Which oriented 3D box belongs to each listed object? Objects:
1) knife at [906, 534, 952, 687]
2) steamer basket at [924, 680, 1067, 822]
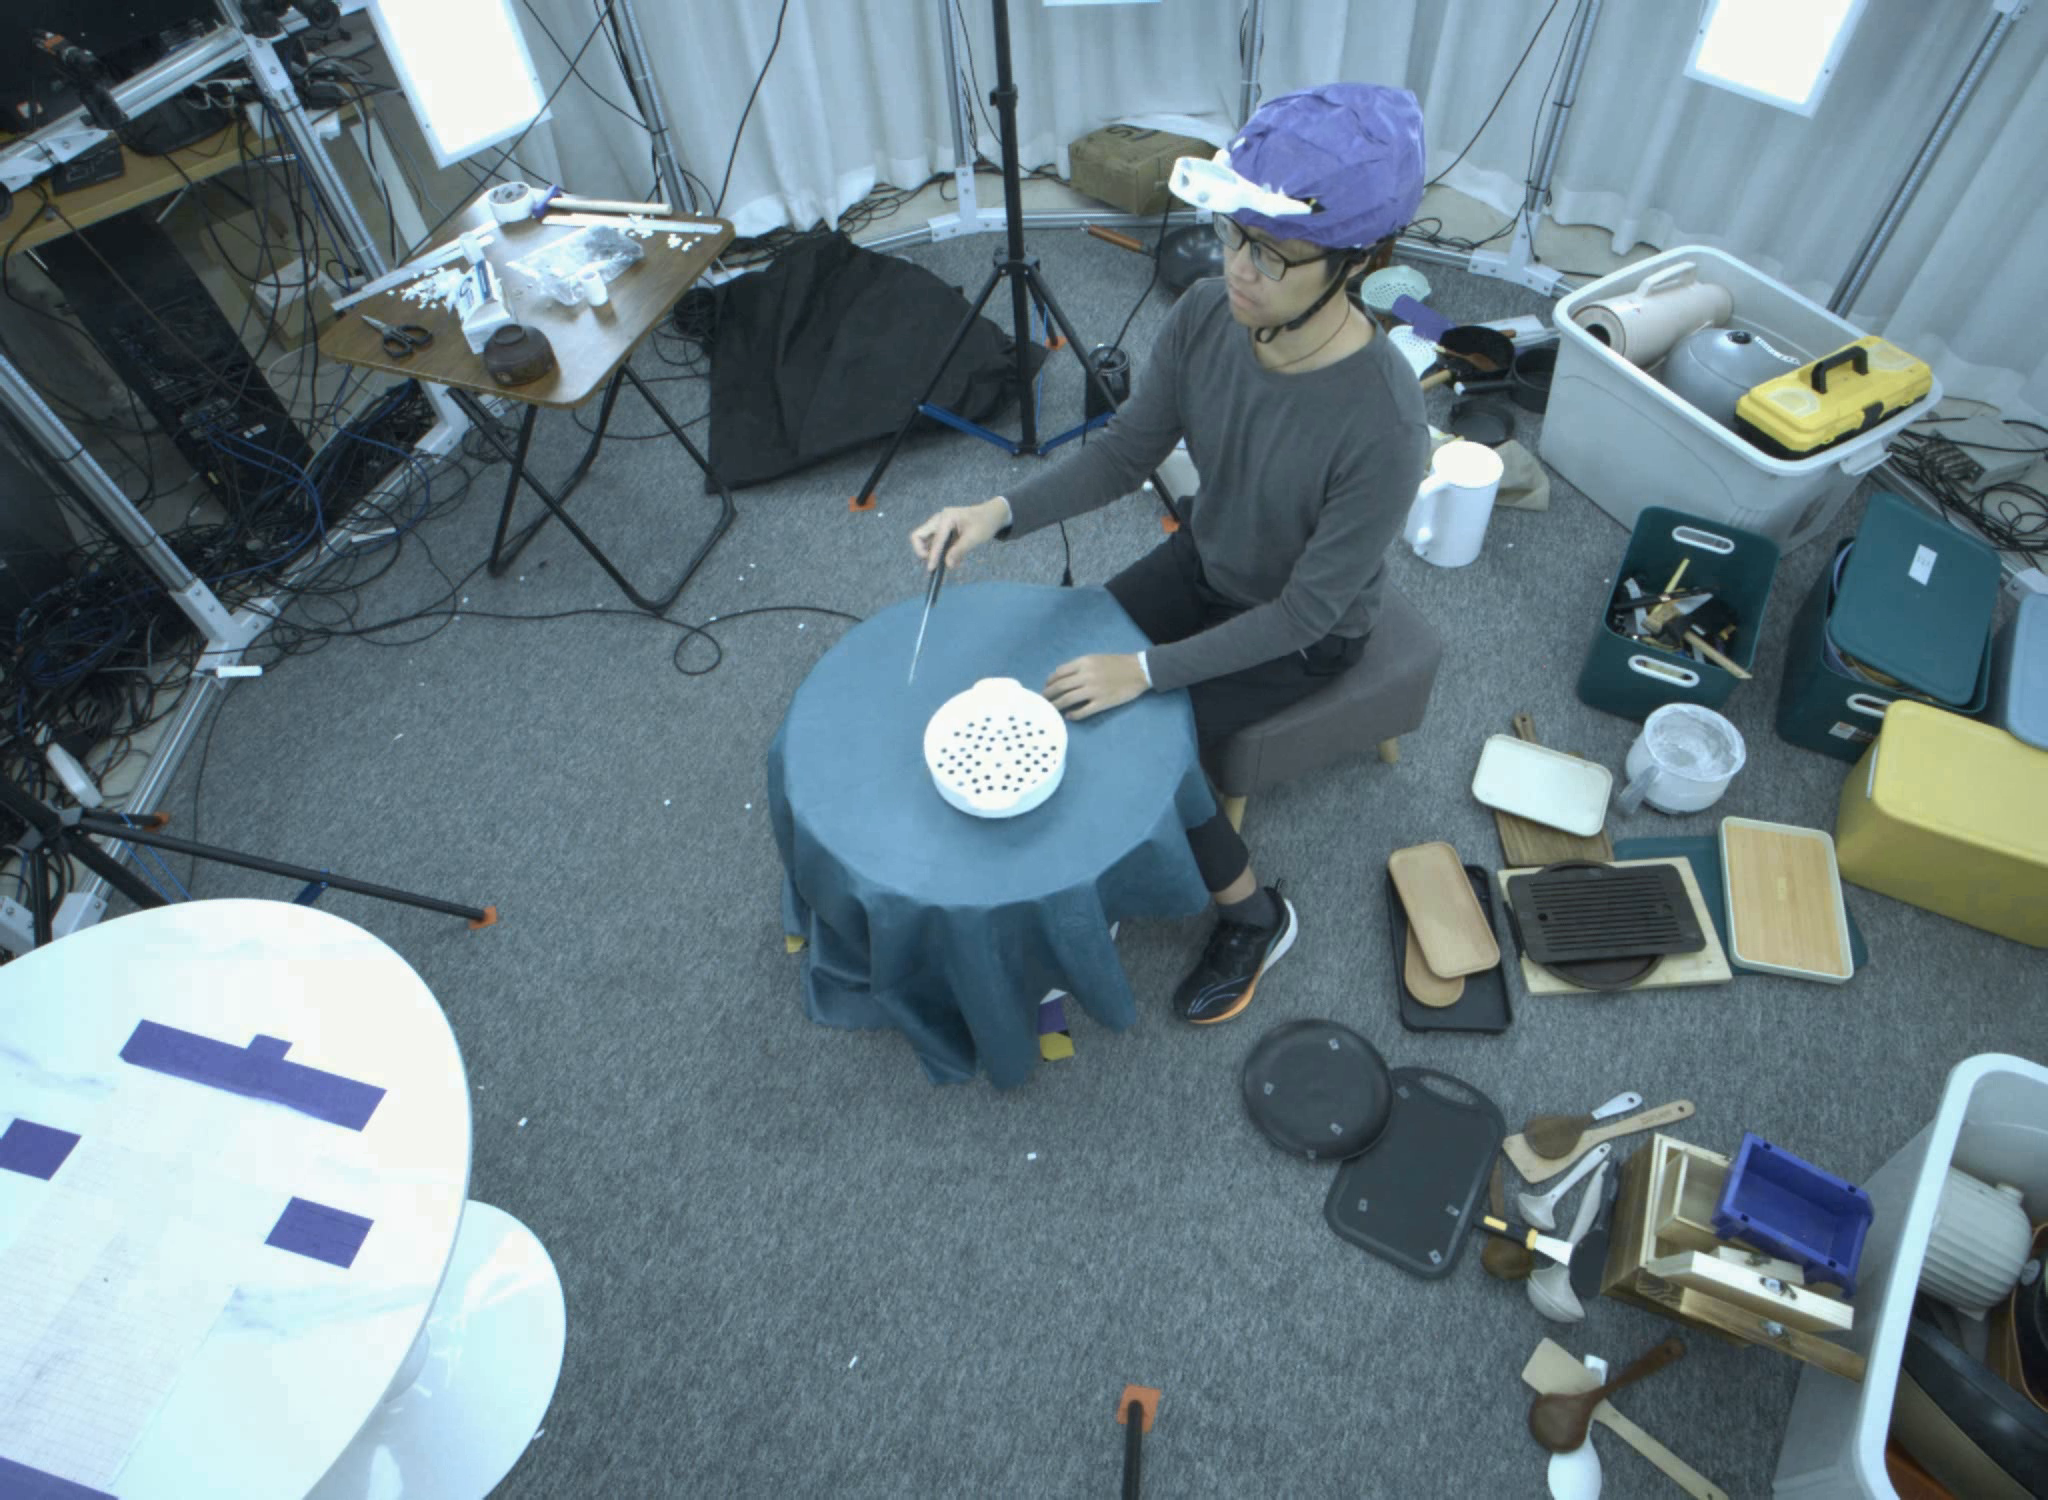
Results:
[{"bbox_3d":[-0.132,-0.196,1.681,0.016,0.024,0.237,14,71,-4],"label":"knife"},{"bbox_3d":[-0.039,0.006,1.749,0.202,0.070,0.228,0,54,1],"label":"steamer basket"}]
